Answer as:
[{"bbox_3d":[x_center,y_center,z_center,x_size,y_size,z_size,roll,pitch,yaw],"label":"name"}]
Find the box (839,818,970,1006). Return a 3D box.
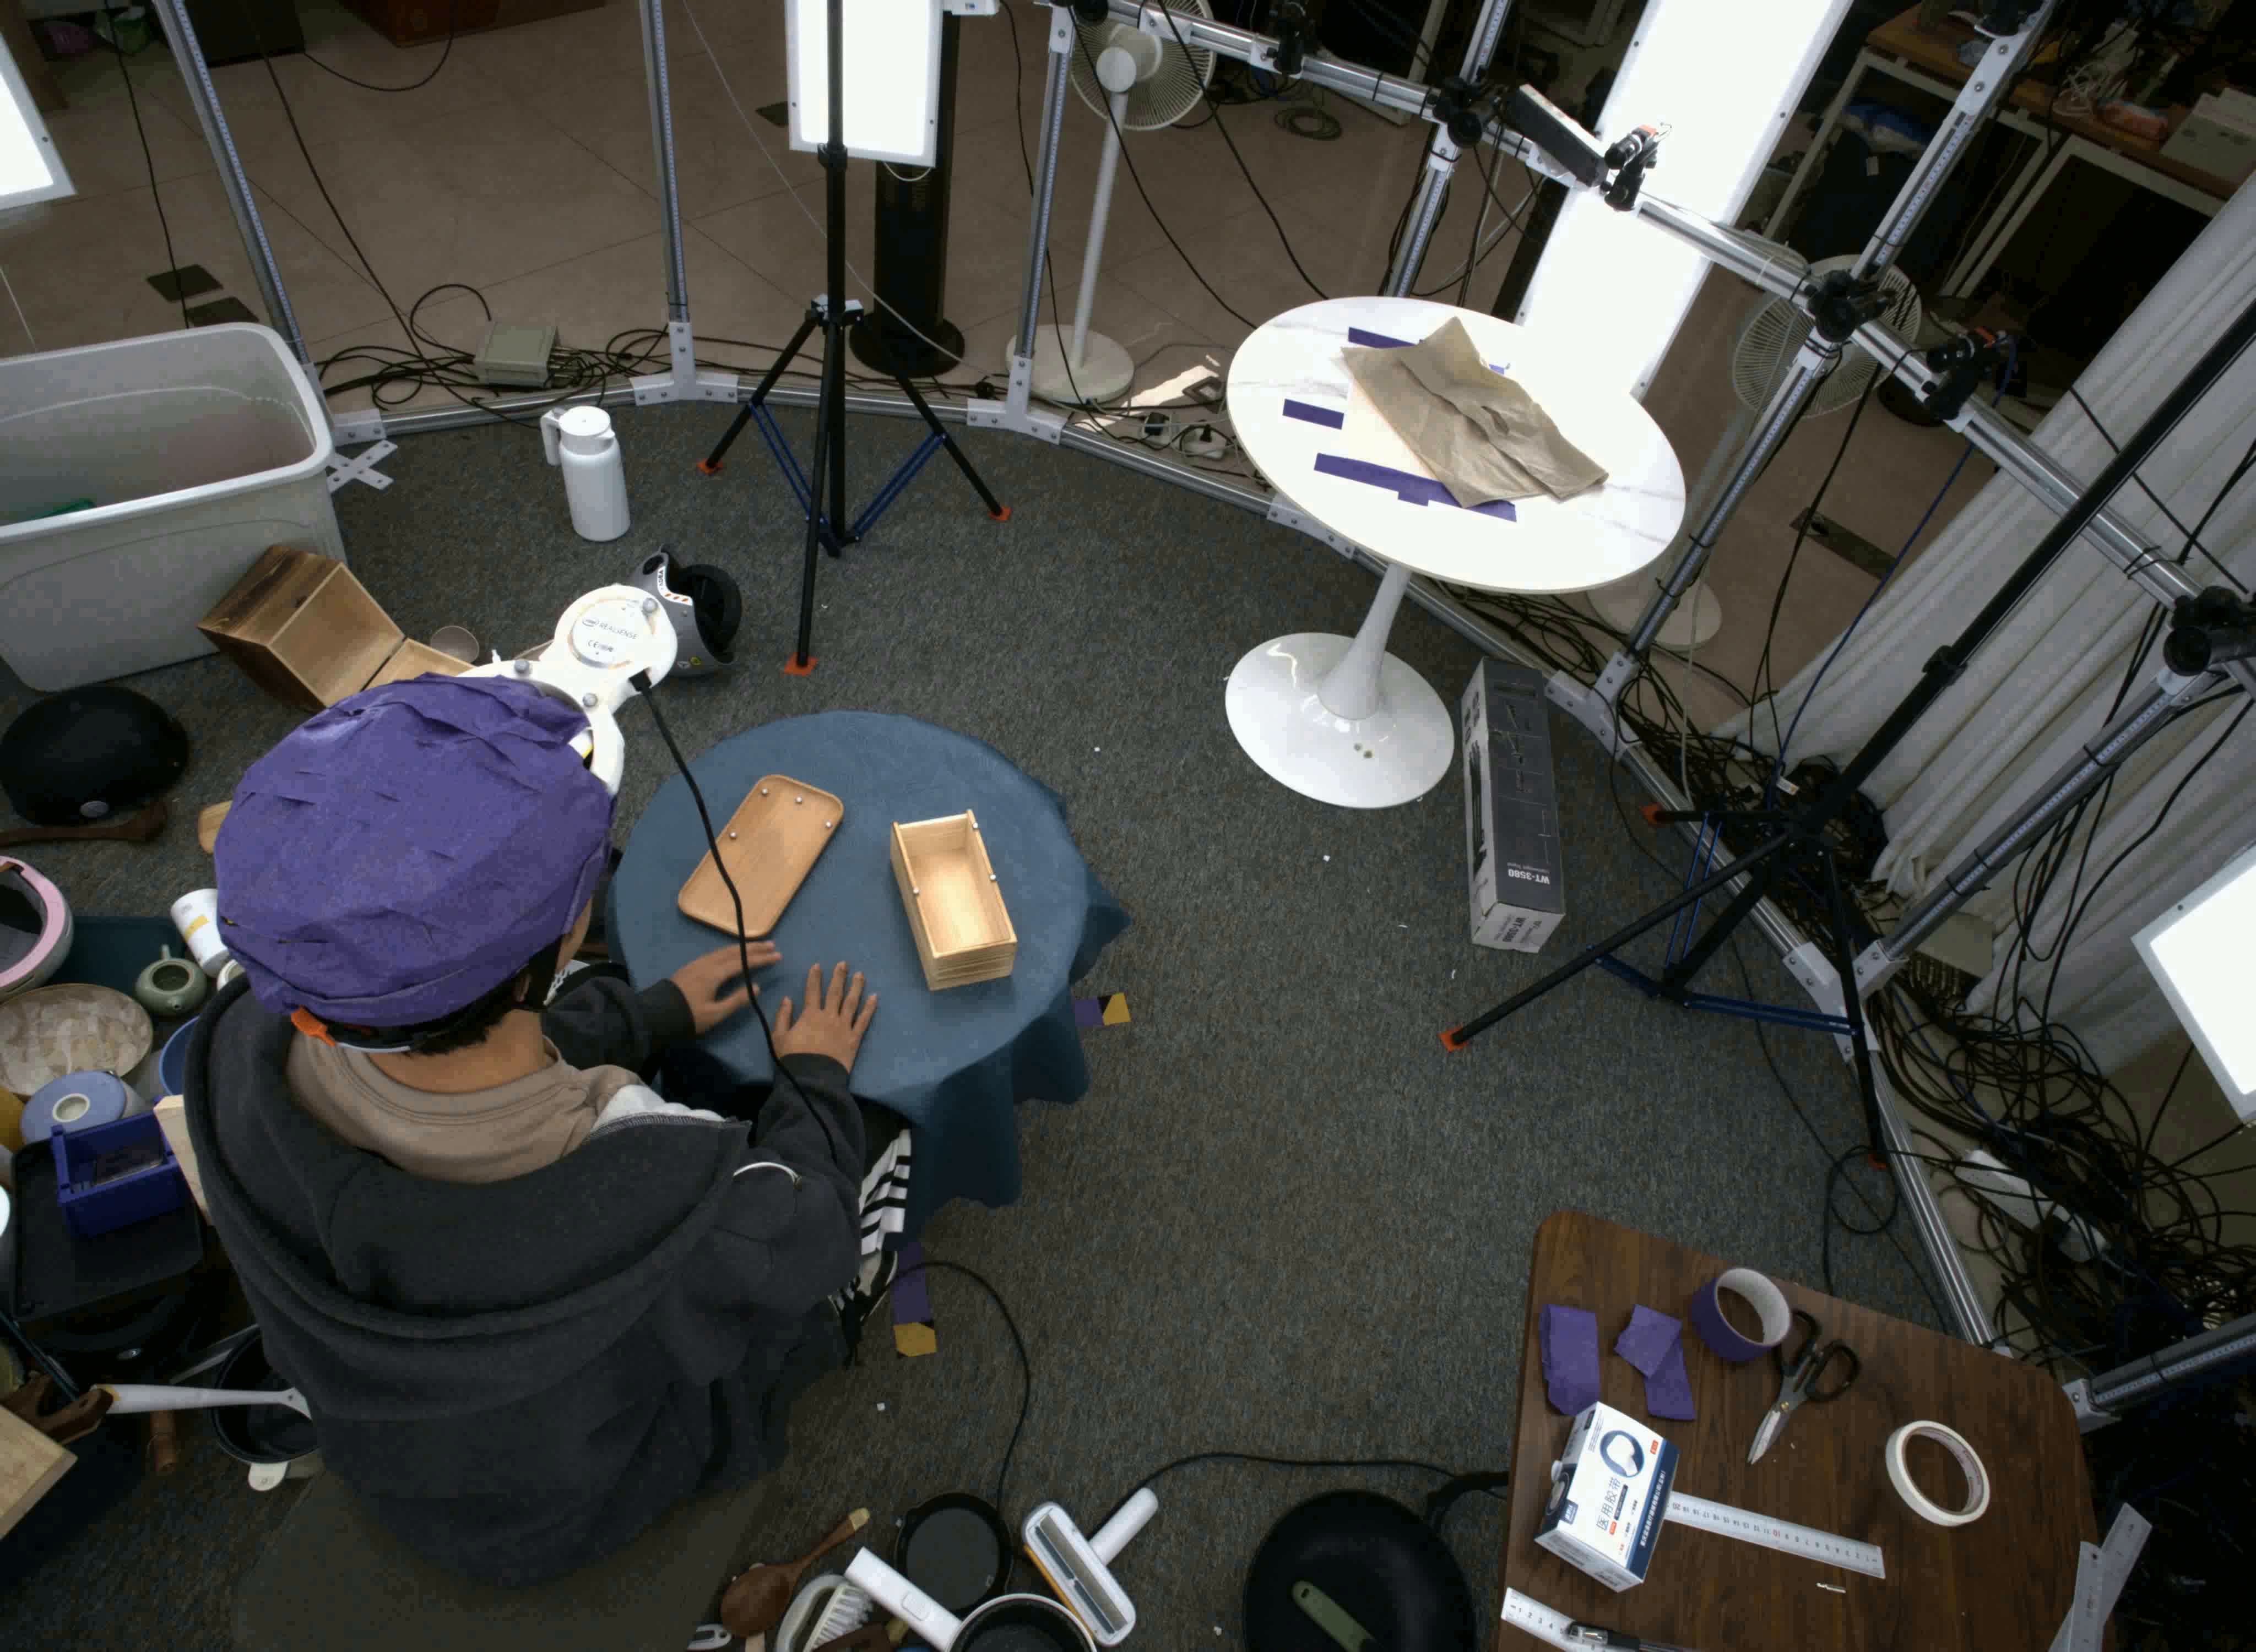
[{"bbox_3d":[-0.284,0.104,1.636,0.108,0.082,0.206,-14,58,-22],"label":"box"}]

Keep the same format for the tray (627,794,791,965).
[{"bbox_3d":[-0.531,0.063,1.643,0.129,0.023,0.248,18,52,3],"label":"tray"}]
